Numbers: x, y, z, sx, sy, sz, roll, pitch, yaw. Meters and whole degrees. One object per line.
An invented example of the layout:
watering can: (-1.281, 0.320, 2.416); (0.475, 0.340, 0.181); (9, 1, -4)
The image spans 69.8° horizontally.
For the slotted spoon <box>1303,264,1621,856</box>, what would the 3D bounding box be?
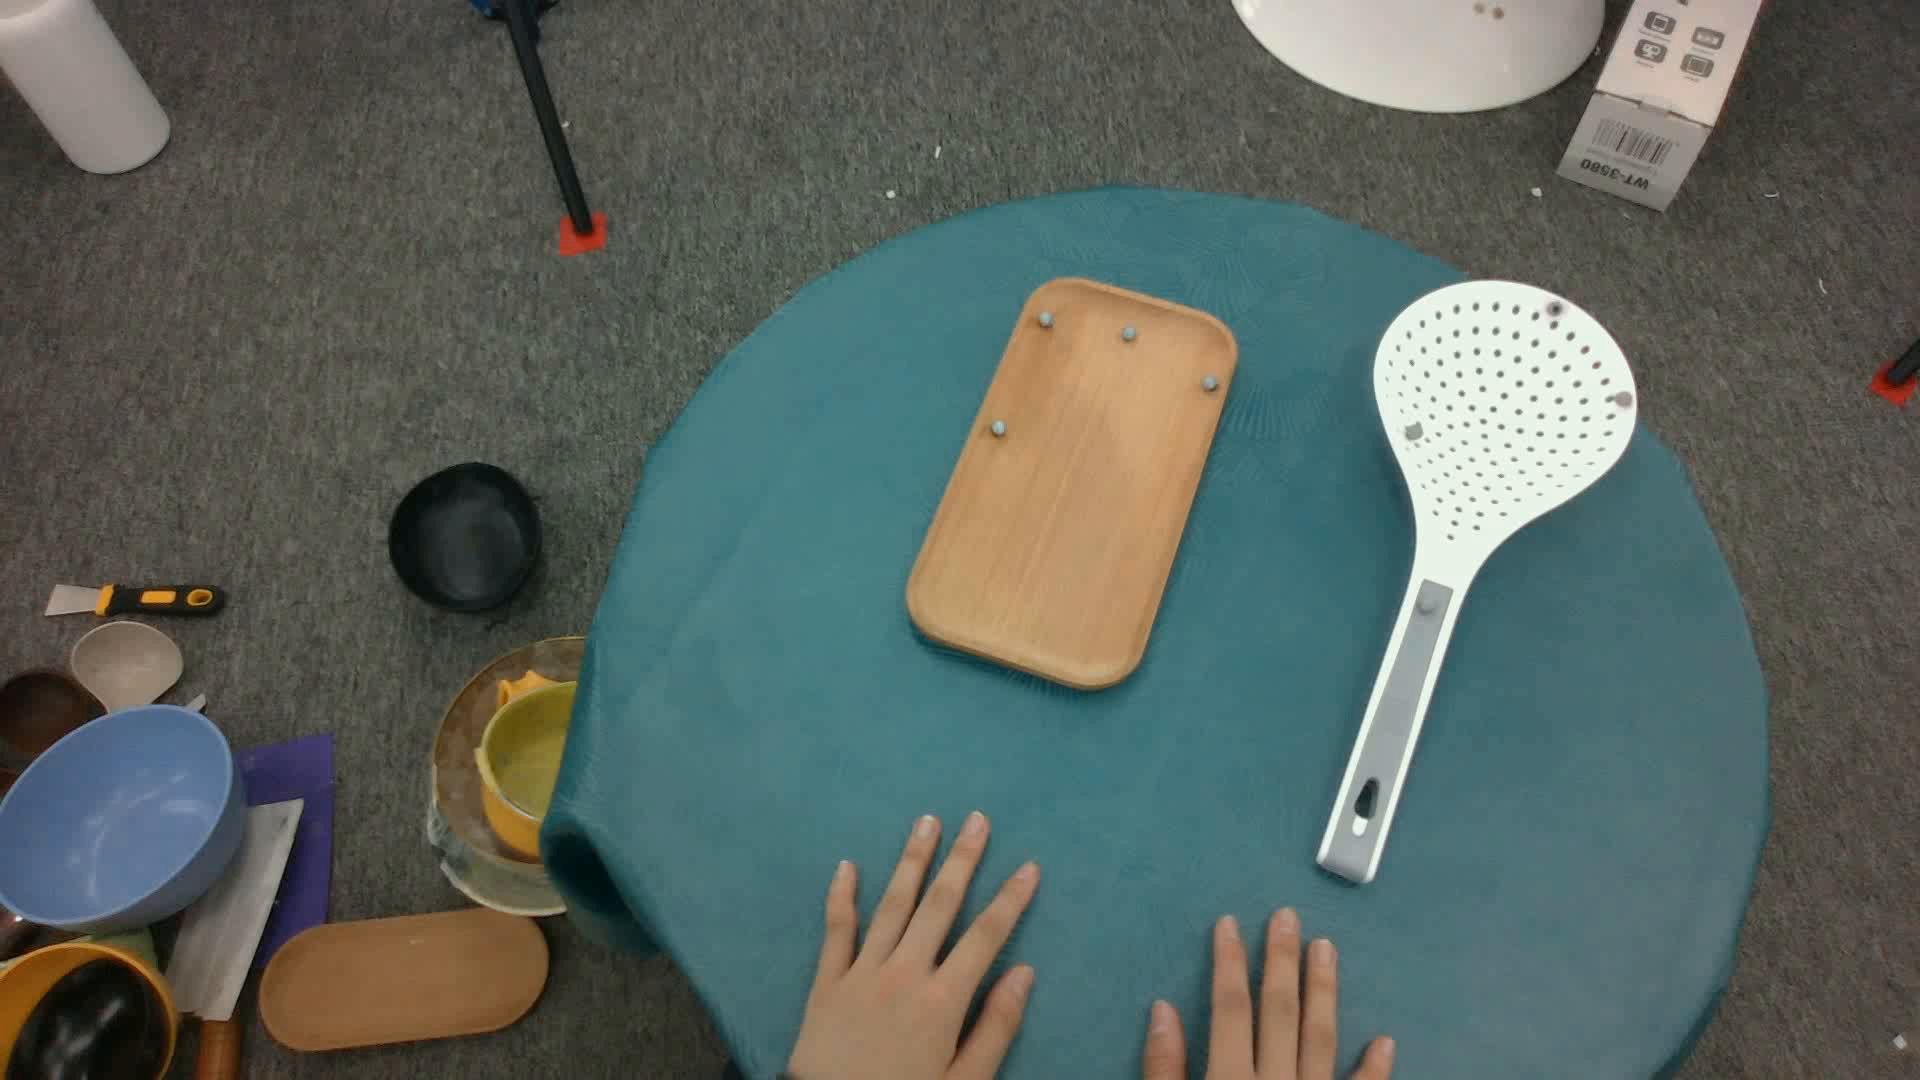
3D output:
slotted spoon: (0.245, 0.000, 0.714); (0.136, 0.045, 0.351); (21, 63, 12)

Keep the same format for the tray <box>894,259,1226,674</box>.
tray: (0.059, -0.047, 0.752); (0.130, 0.023, 0.252); (17, 62, 10)
